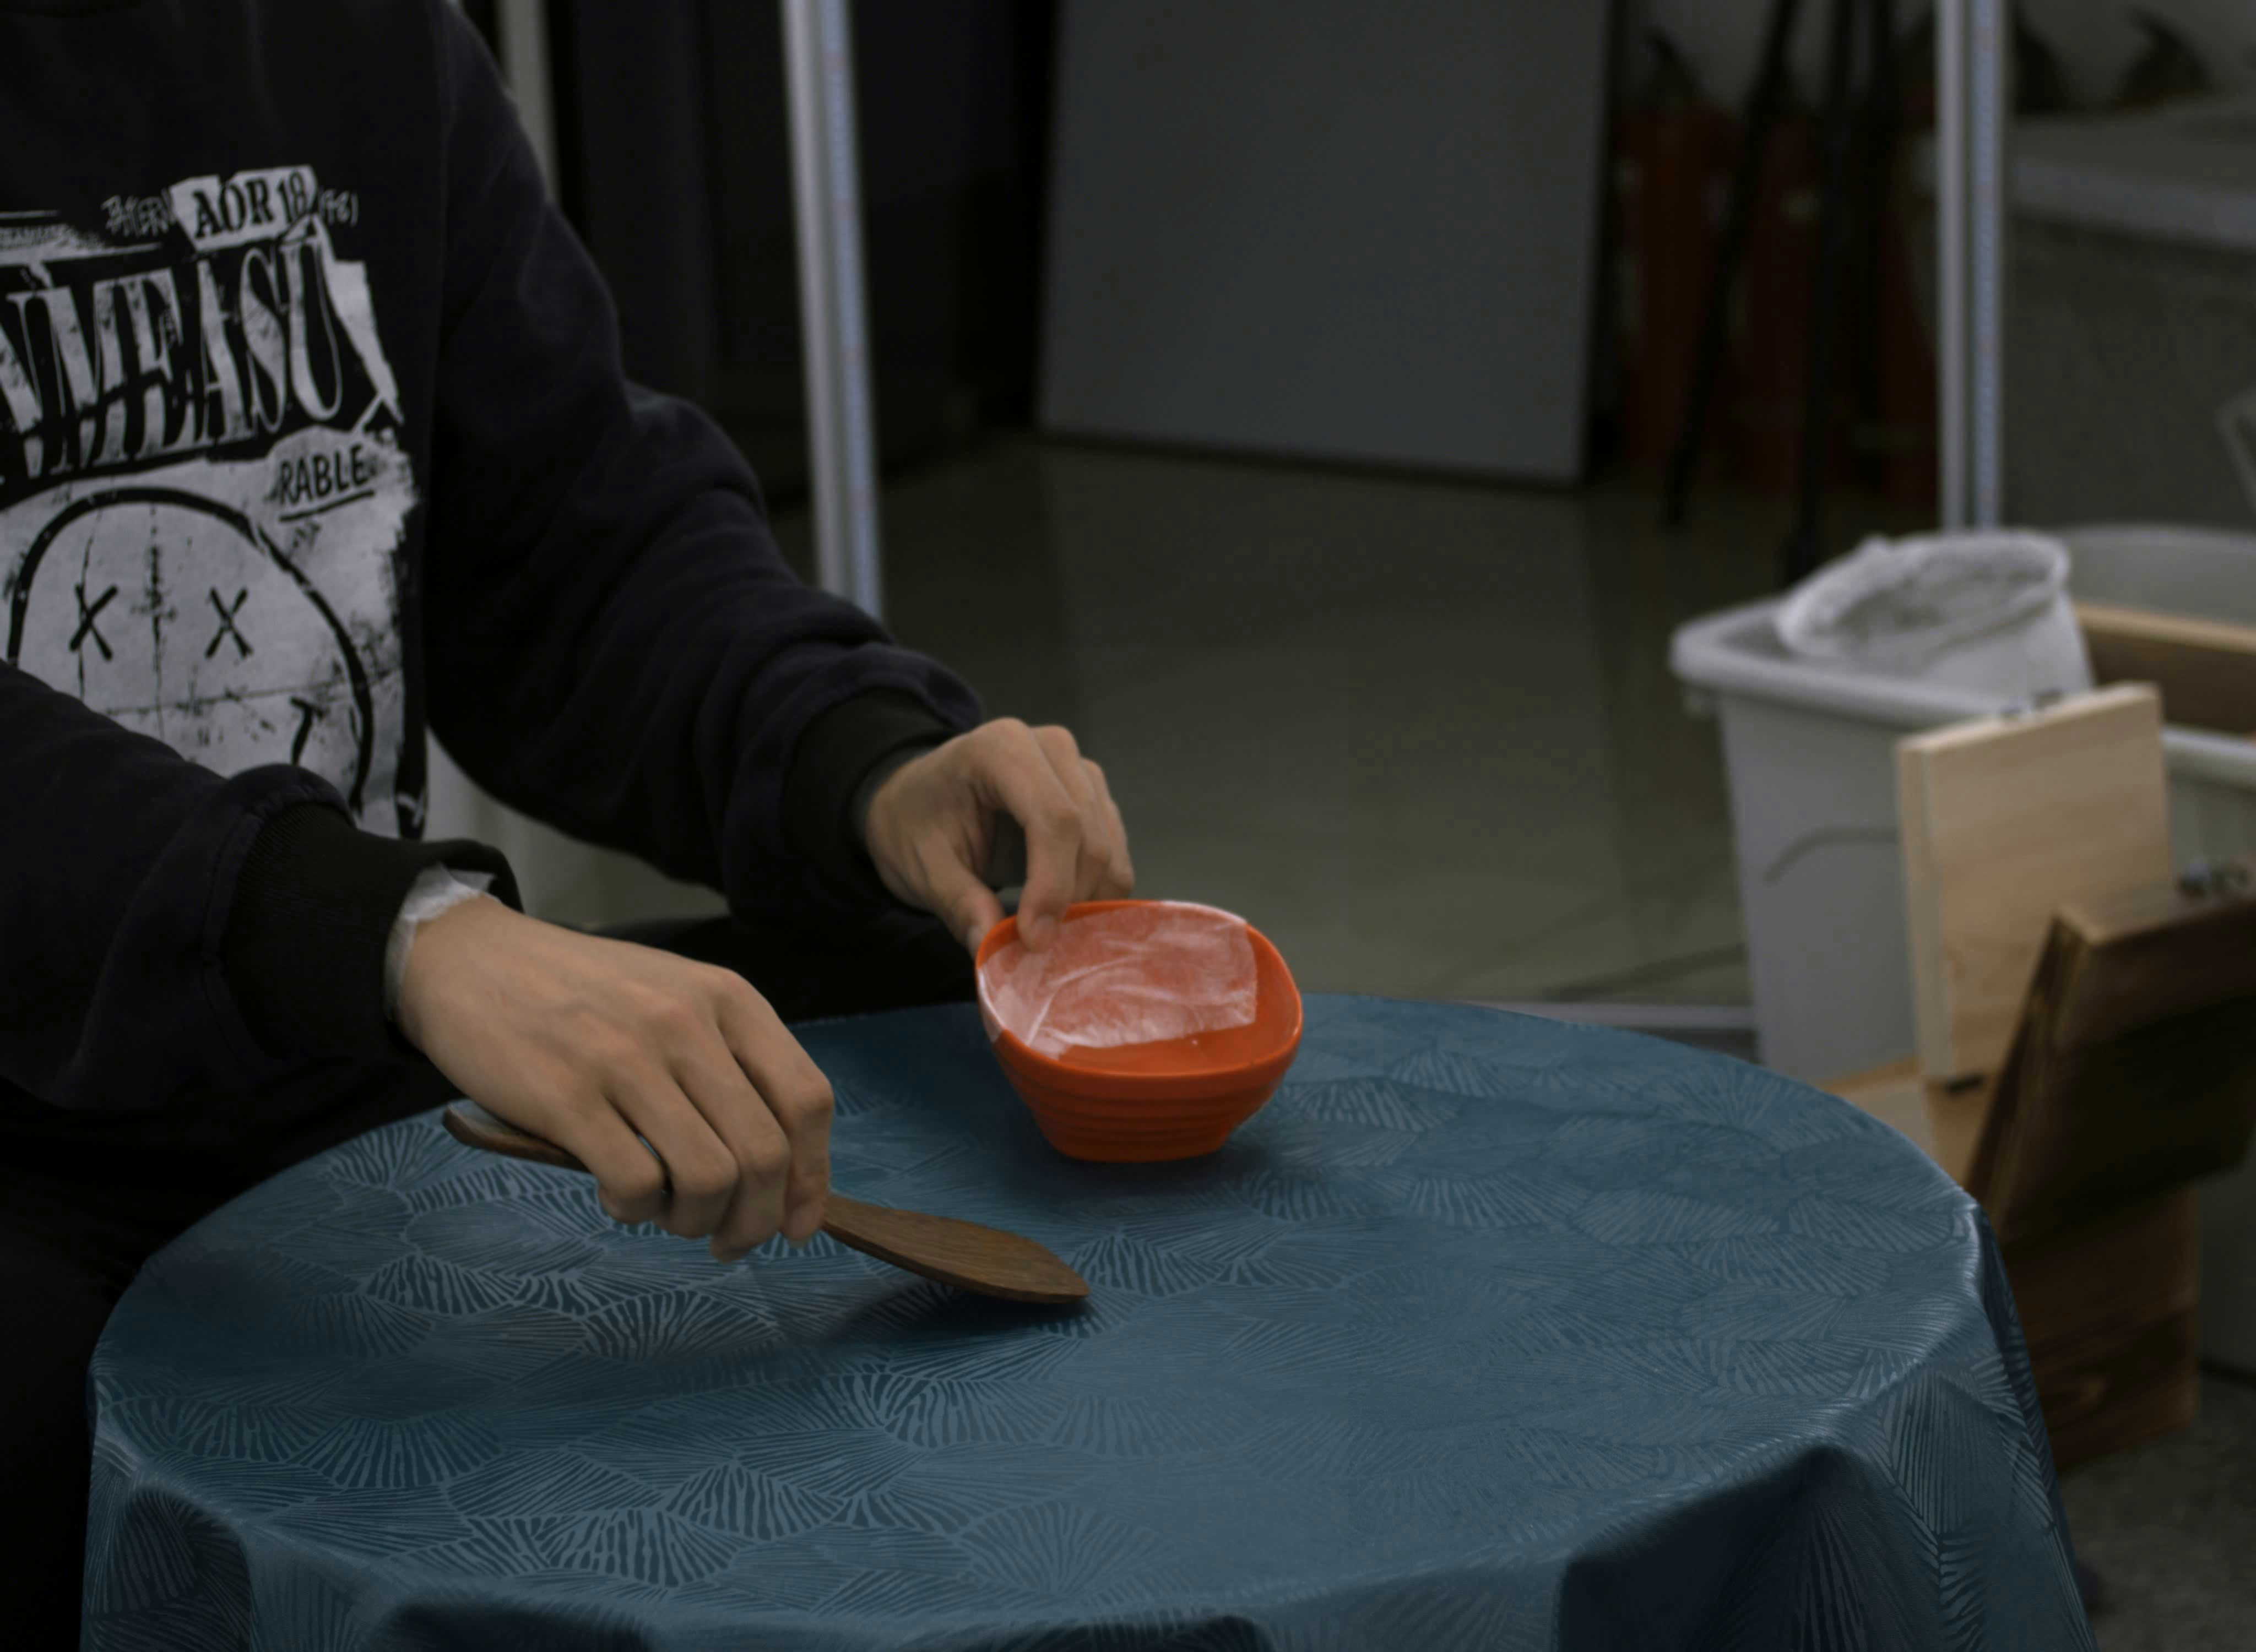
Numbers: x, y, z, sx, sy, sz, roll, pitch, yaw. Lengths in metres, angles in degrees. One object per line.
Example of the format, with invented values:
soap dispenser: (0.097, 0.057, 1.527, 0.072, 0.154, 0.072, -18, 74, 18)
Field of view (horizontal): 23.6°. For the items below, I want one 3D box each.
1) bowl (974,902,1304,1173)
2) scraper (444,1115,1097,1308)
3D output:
bowl: (0.002, 0.076, 1.813, 0.117, 0.052, 0.119, 3, 31, -3)
scraper: (-0.110, 0.116, 1.646, 0.207, 0.011, 0.076, 16, 6, -24)
